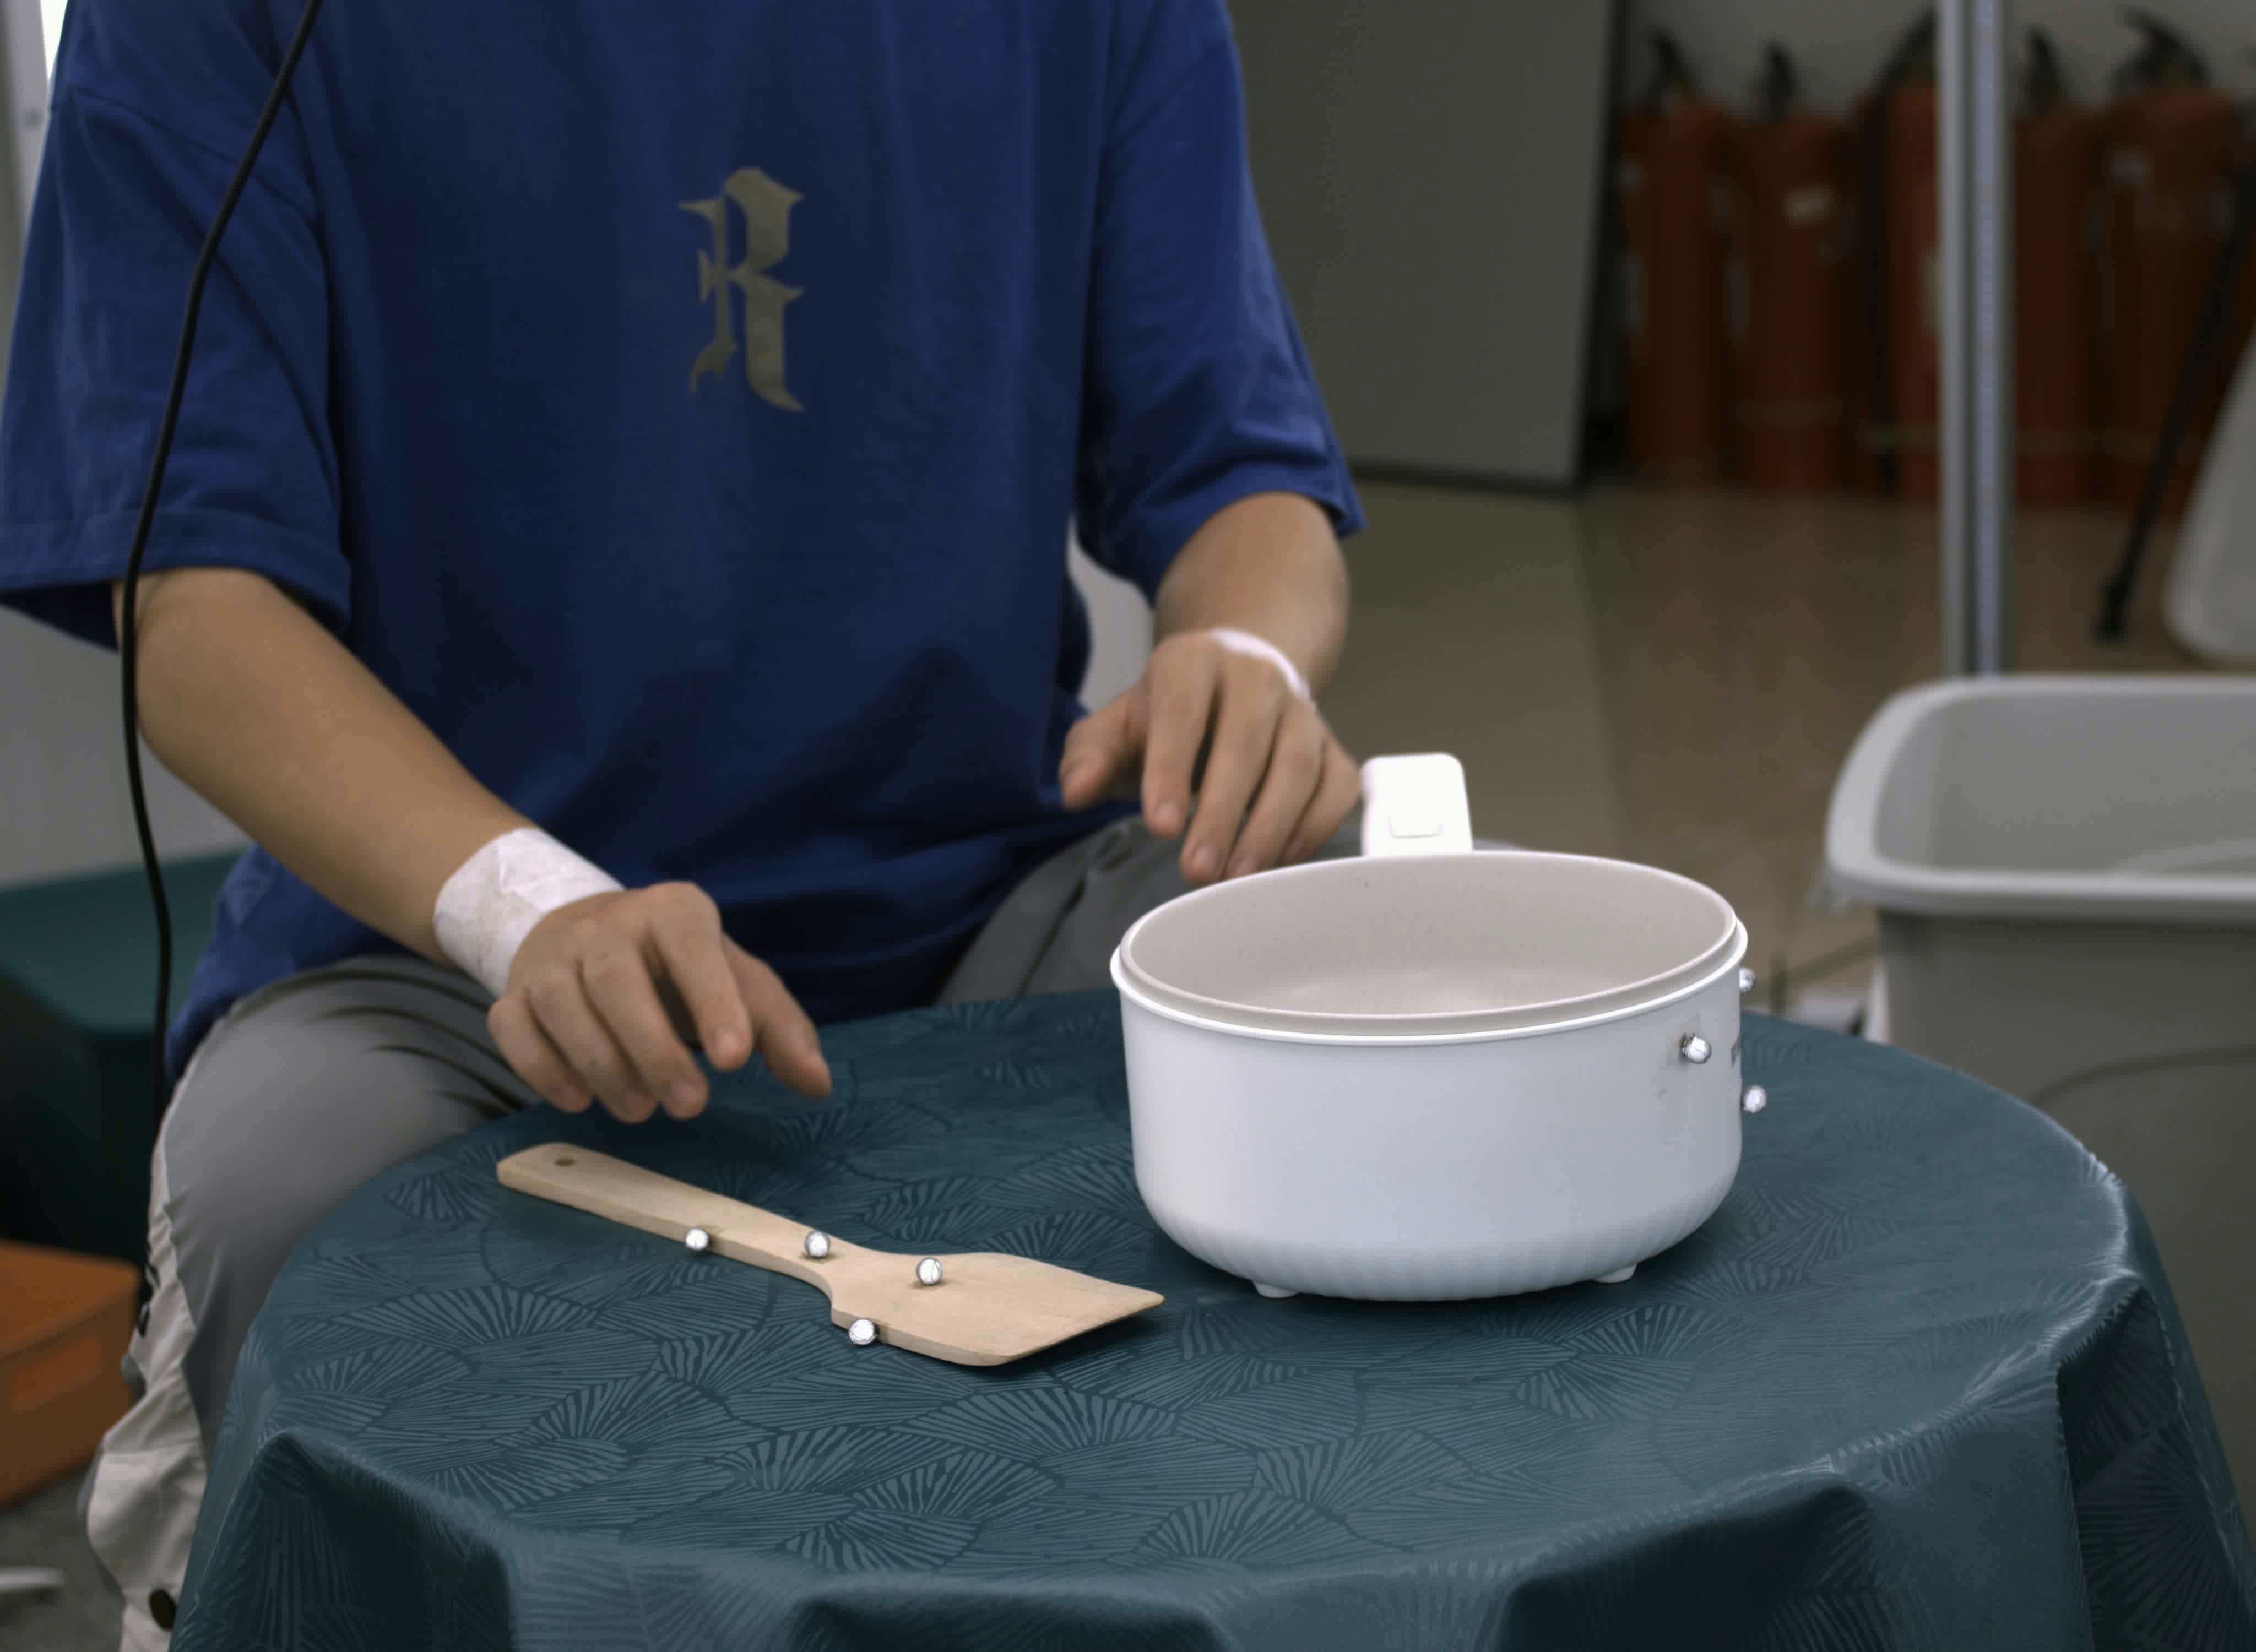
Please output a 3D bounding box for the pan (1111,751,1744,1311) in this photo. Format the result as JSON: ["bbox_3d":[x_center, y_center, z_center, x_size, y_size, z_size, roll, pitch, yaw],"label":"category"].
[{"bbox_3d":[0.099,0.063,1.773,0.199,0.103,0.355,-5,14,3],"label":"pan"}]

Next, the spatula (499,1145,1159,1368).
[{"bbox_3d":[-0.110,0.135,1.729,0.071,0.011,0.296,-17,19,-38],"label":"spatula"}]
